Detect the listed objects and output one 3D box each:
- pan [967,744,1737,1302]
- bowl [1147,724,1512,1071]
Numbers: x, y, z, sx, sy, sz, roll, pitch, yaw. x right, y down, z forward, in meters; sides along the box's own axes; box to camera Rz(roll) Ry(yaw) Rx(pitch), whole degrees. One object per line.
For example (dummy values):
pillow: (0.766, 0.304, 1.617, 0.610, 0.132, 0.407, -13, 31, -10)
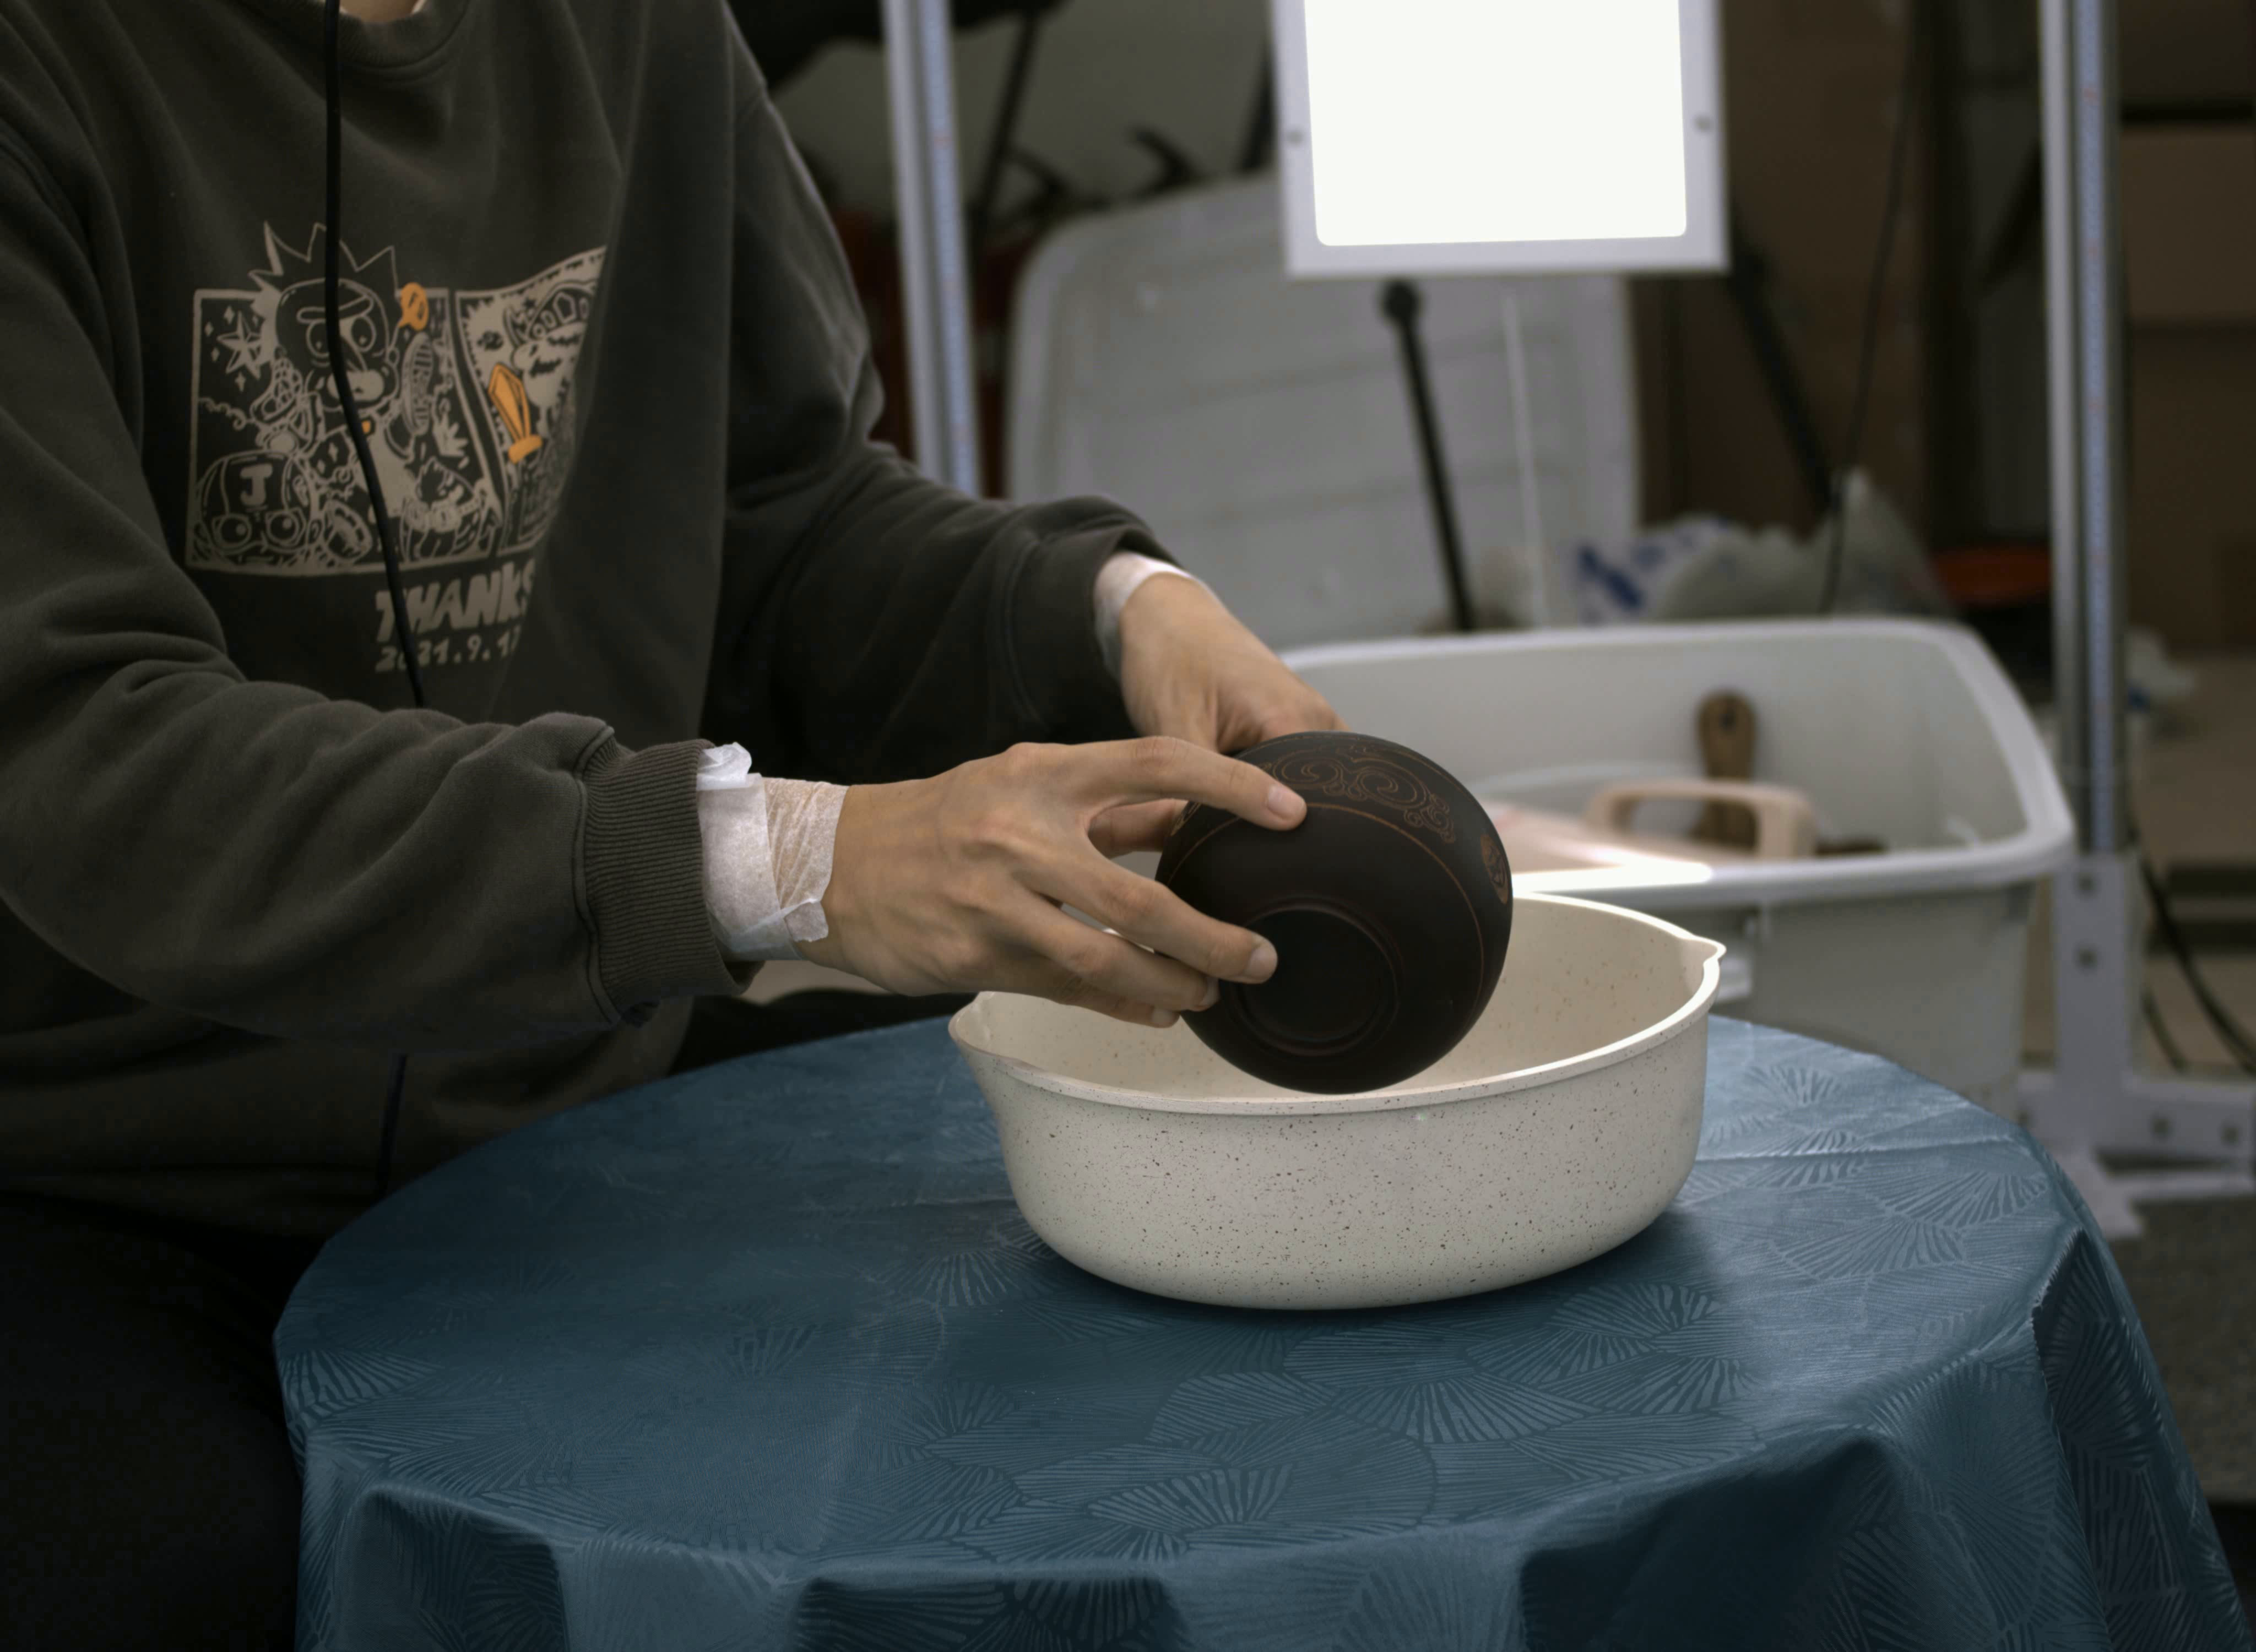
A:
pan: (0.066, 0.064, 1.923, 0.261, 0.102, 0.436, -8, 14, -6)
bowl: (0.063, 0.033, 1.760, 0.119, 0.118, 0.069, -1, 27, 13)
